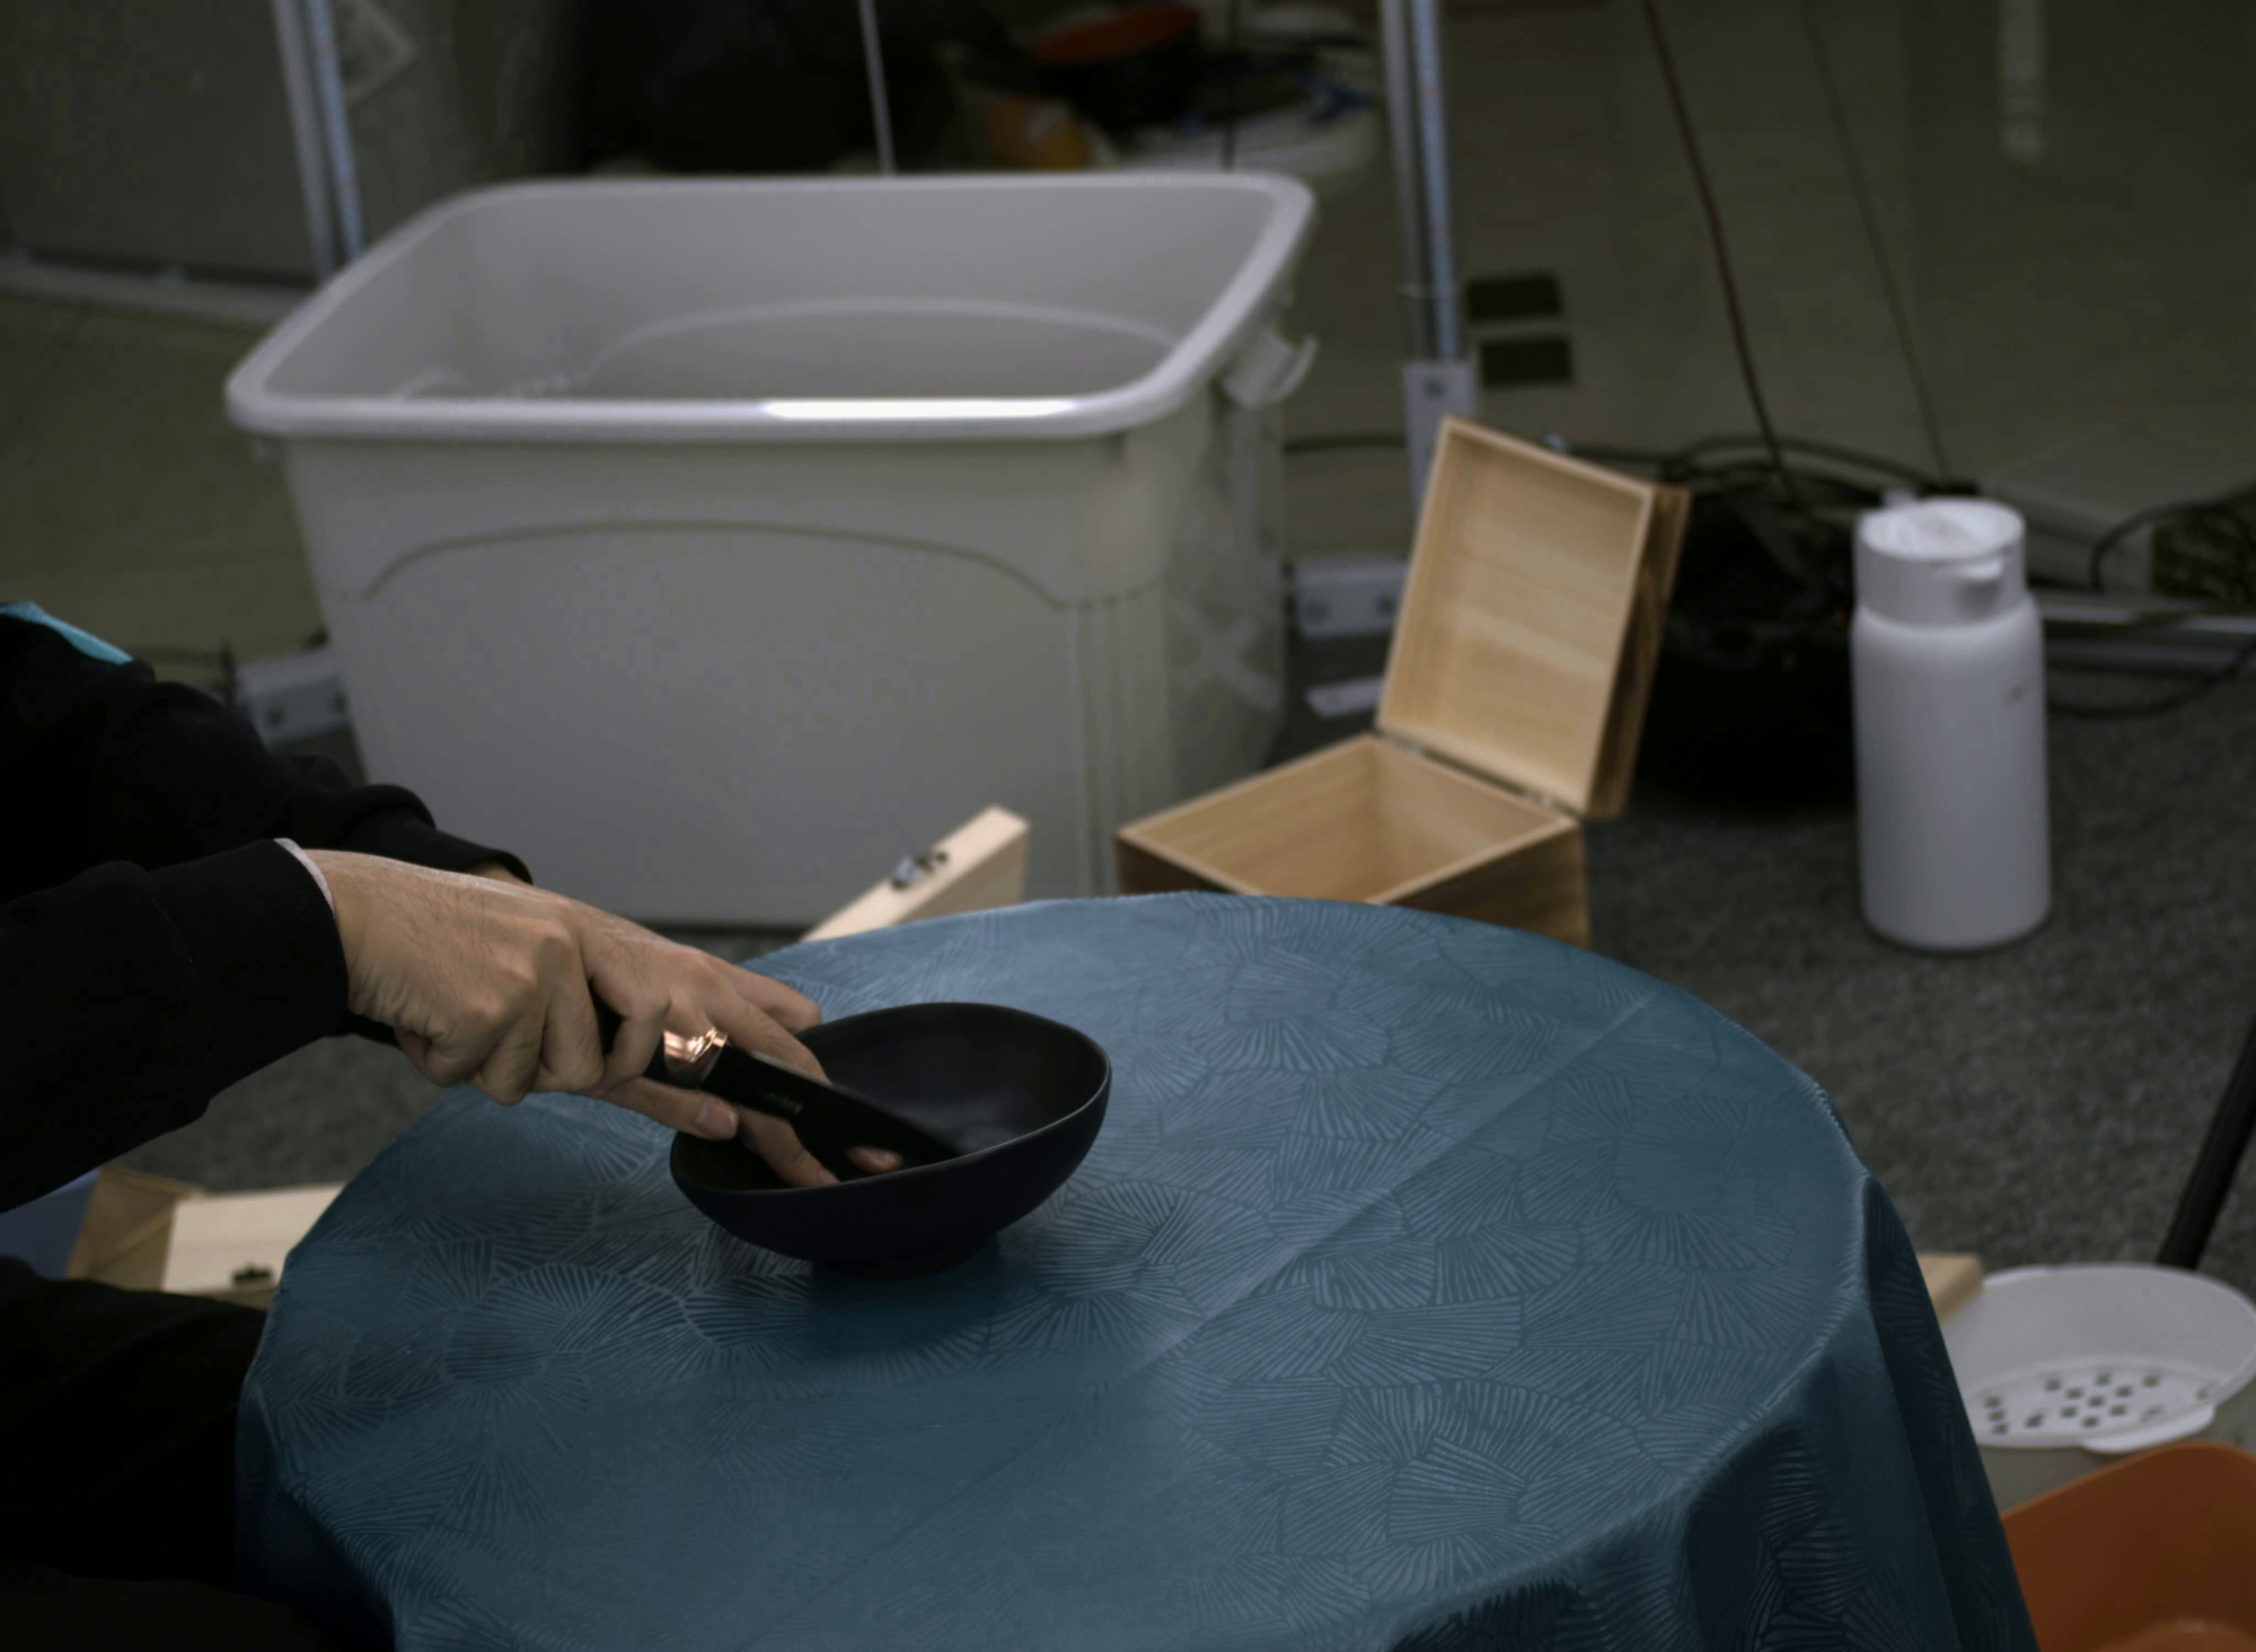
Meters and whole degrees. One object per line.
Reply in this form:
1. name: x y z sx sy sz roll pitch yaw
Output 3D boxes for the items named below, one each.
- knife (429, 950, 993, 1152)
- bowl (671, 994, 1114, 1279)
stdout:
1. knife: -0.152 0.088 2.087 0.226 0.026 0.017 21 22 -21
2. bowl: -0.084 0.126 2.118 0.170 0.068 0.135 -15 26 -12
